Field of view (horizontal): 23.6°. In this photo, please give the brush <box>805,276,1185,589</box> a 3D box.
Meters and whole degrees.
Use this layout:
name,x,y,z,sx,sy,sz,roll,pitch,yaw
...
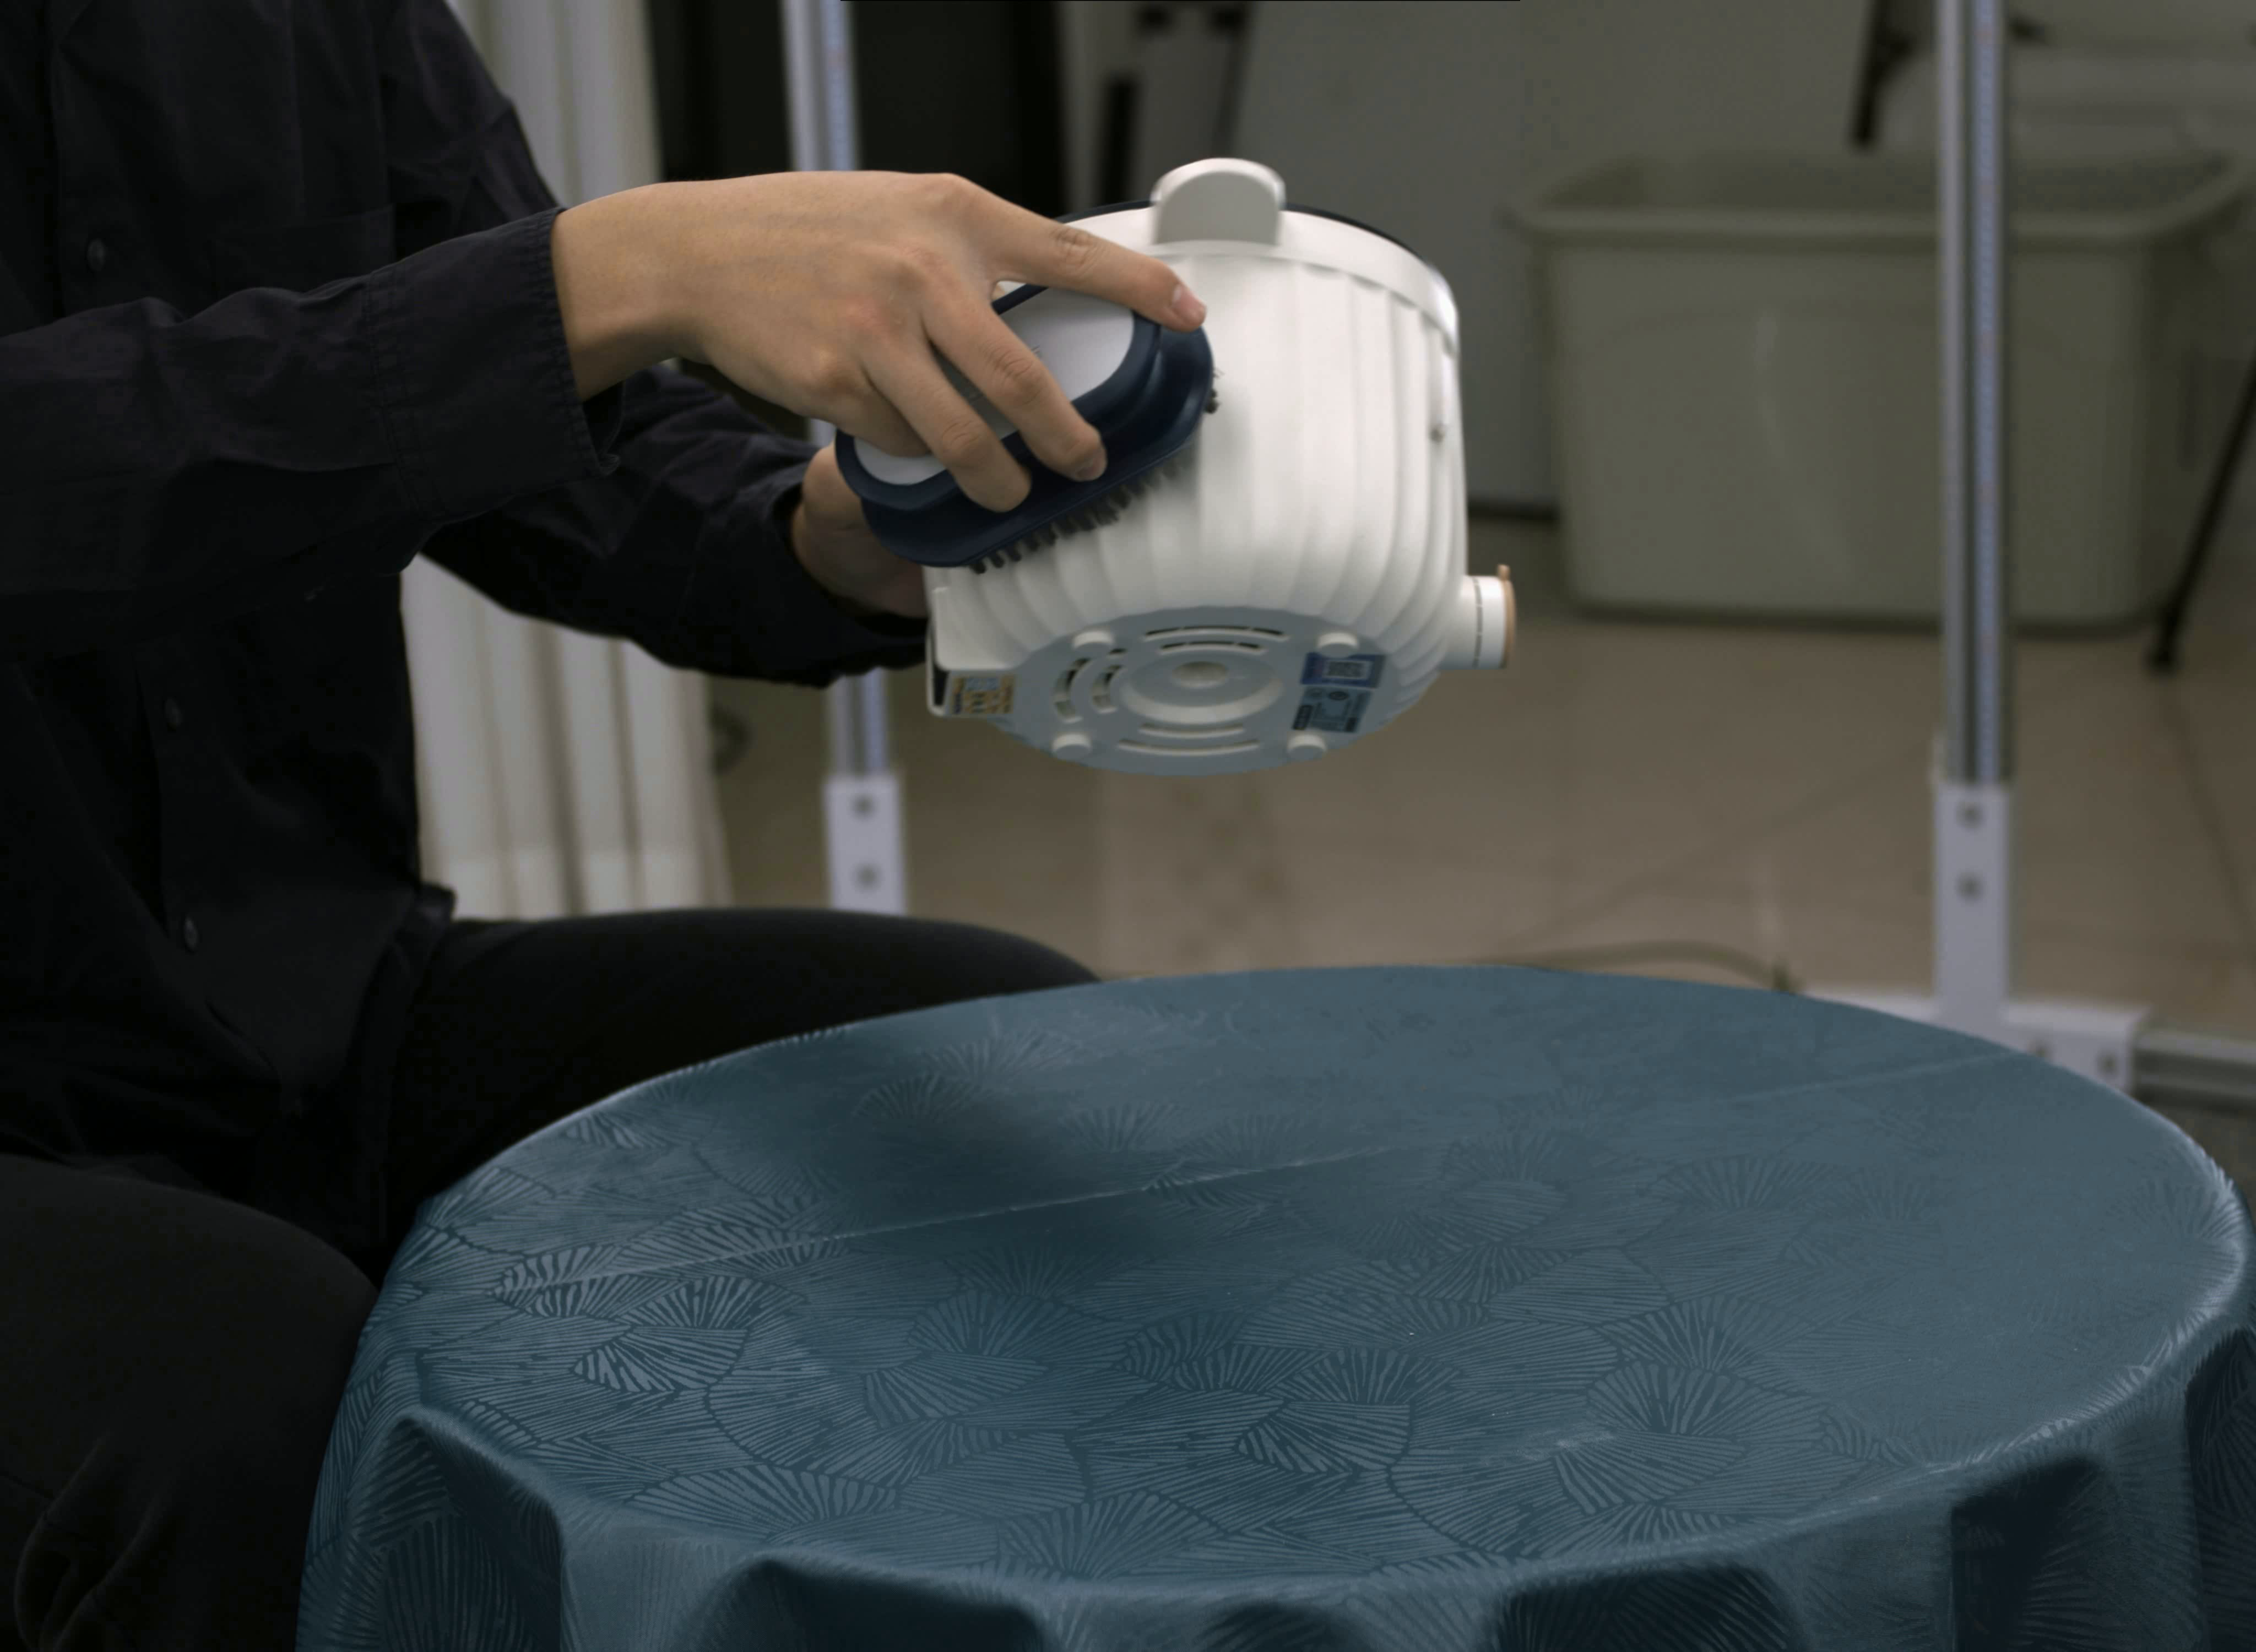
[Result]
name,x,y,z,sx,sy,sz,roll,pitch,yaw
brush,-0.039,-0.118,1.656,0.121,0.069,0.060,-24,-29,13

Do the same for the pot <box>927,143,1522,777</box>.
name,x,y,z,sx,sy,sz,roll,pitch,yaw
pot,0.031,-0.104,1.772,0.187,0.144,0.241,-1,-24,-7
